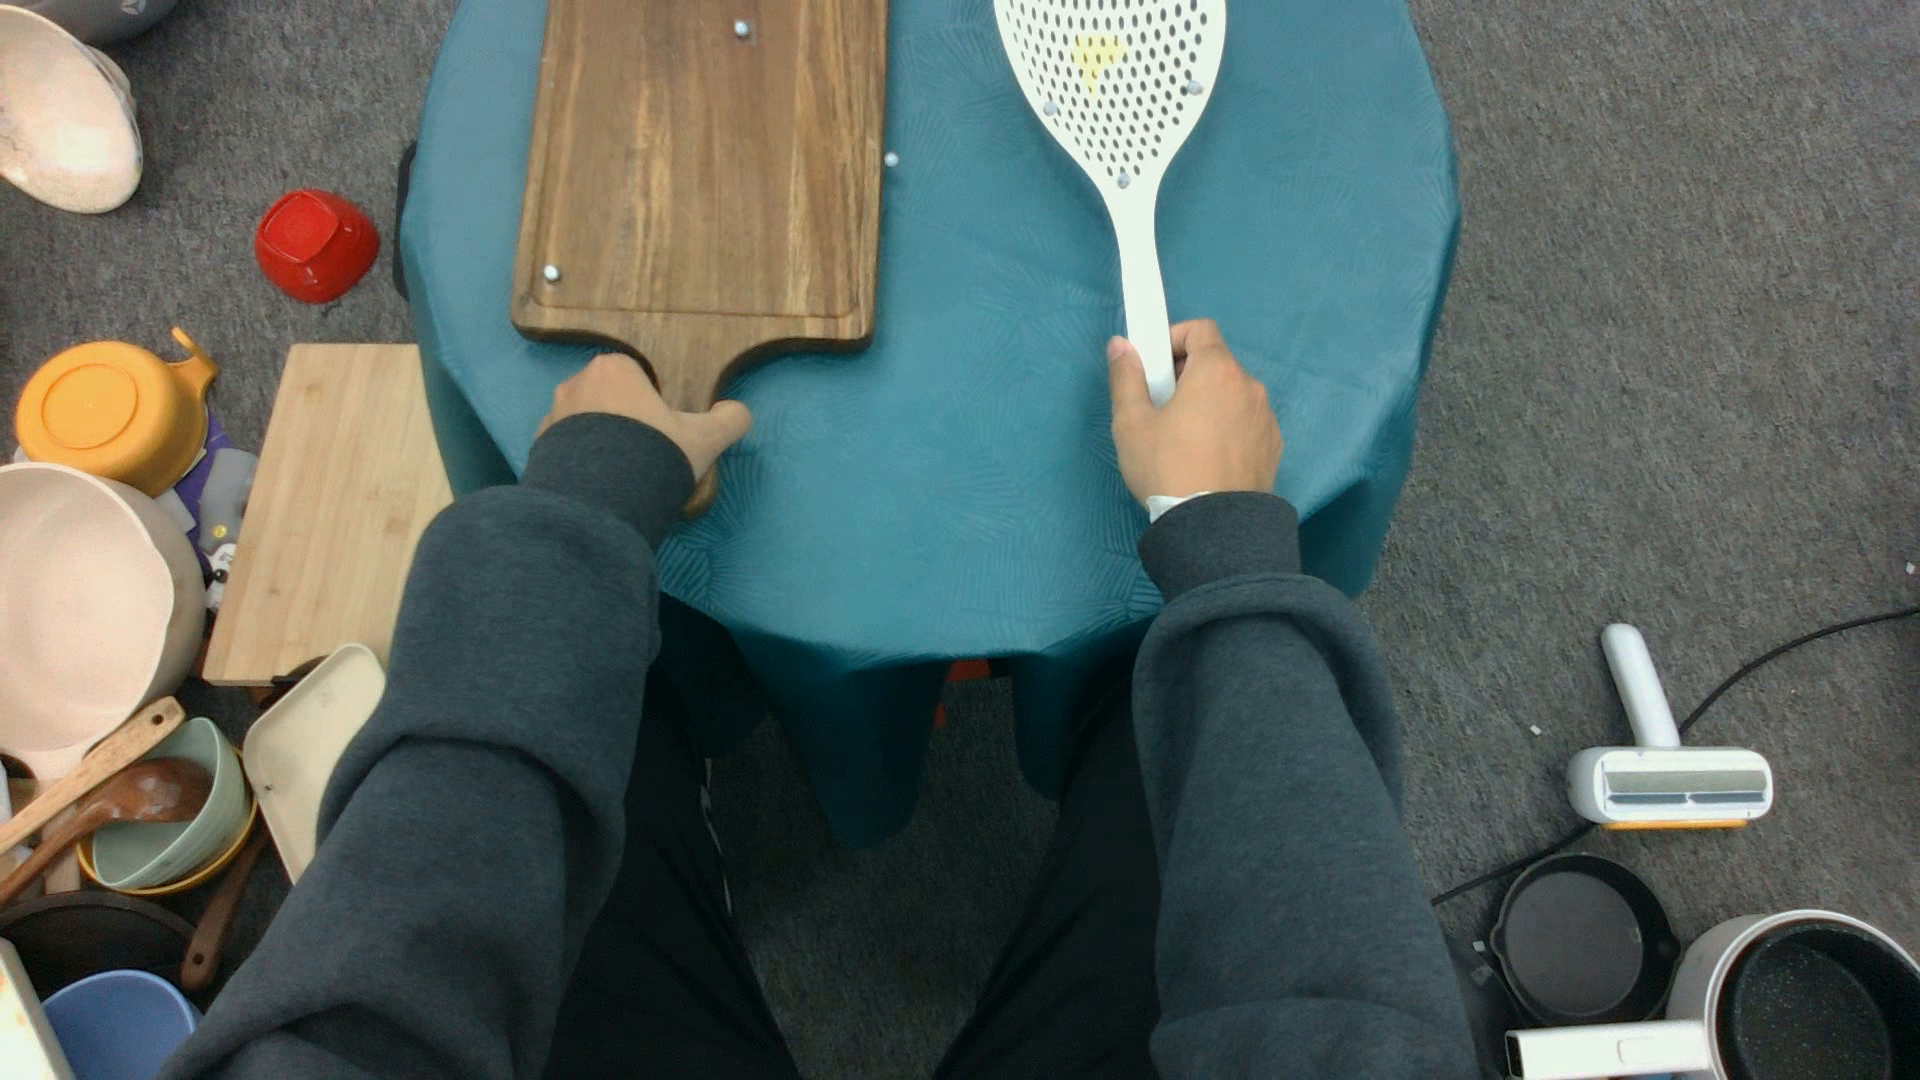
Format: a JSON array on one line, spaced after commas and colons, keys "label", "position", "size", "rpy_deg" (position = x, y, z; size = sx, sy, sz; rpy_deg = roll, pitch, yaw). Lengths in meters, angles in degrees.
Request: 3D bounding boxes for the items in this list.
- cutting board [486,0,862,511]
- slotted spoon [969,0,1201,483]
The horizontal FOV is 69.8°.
[{"label": "cutting board", "position": [-0.156, -0.185, 0.766], "size": [0.201, 0.023, 0.353], "rpy_deg": [1, 73, -1]}, {"label": "slotted spoon", "position": [0.083, -0.202, 0.771], "size": [0.137, 0.050, 0.348], "rpy_deg": [-5, 73, -11]}]
